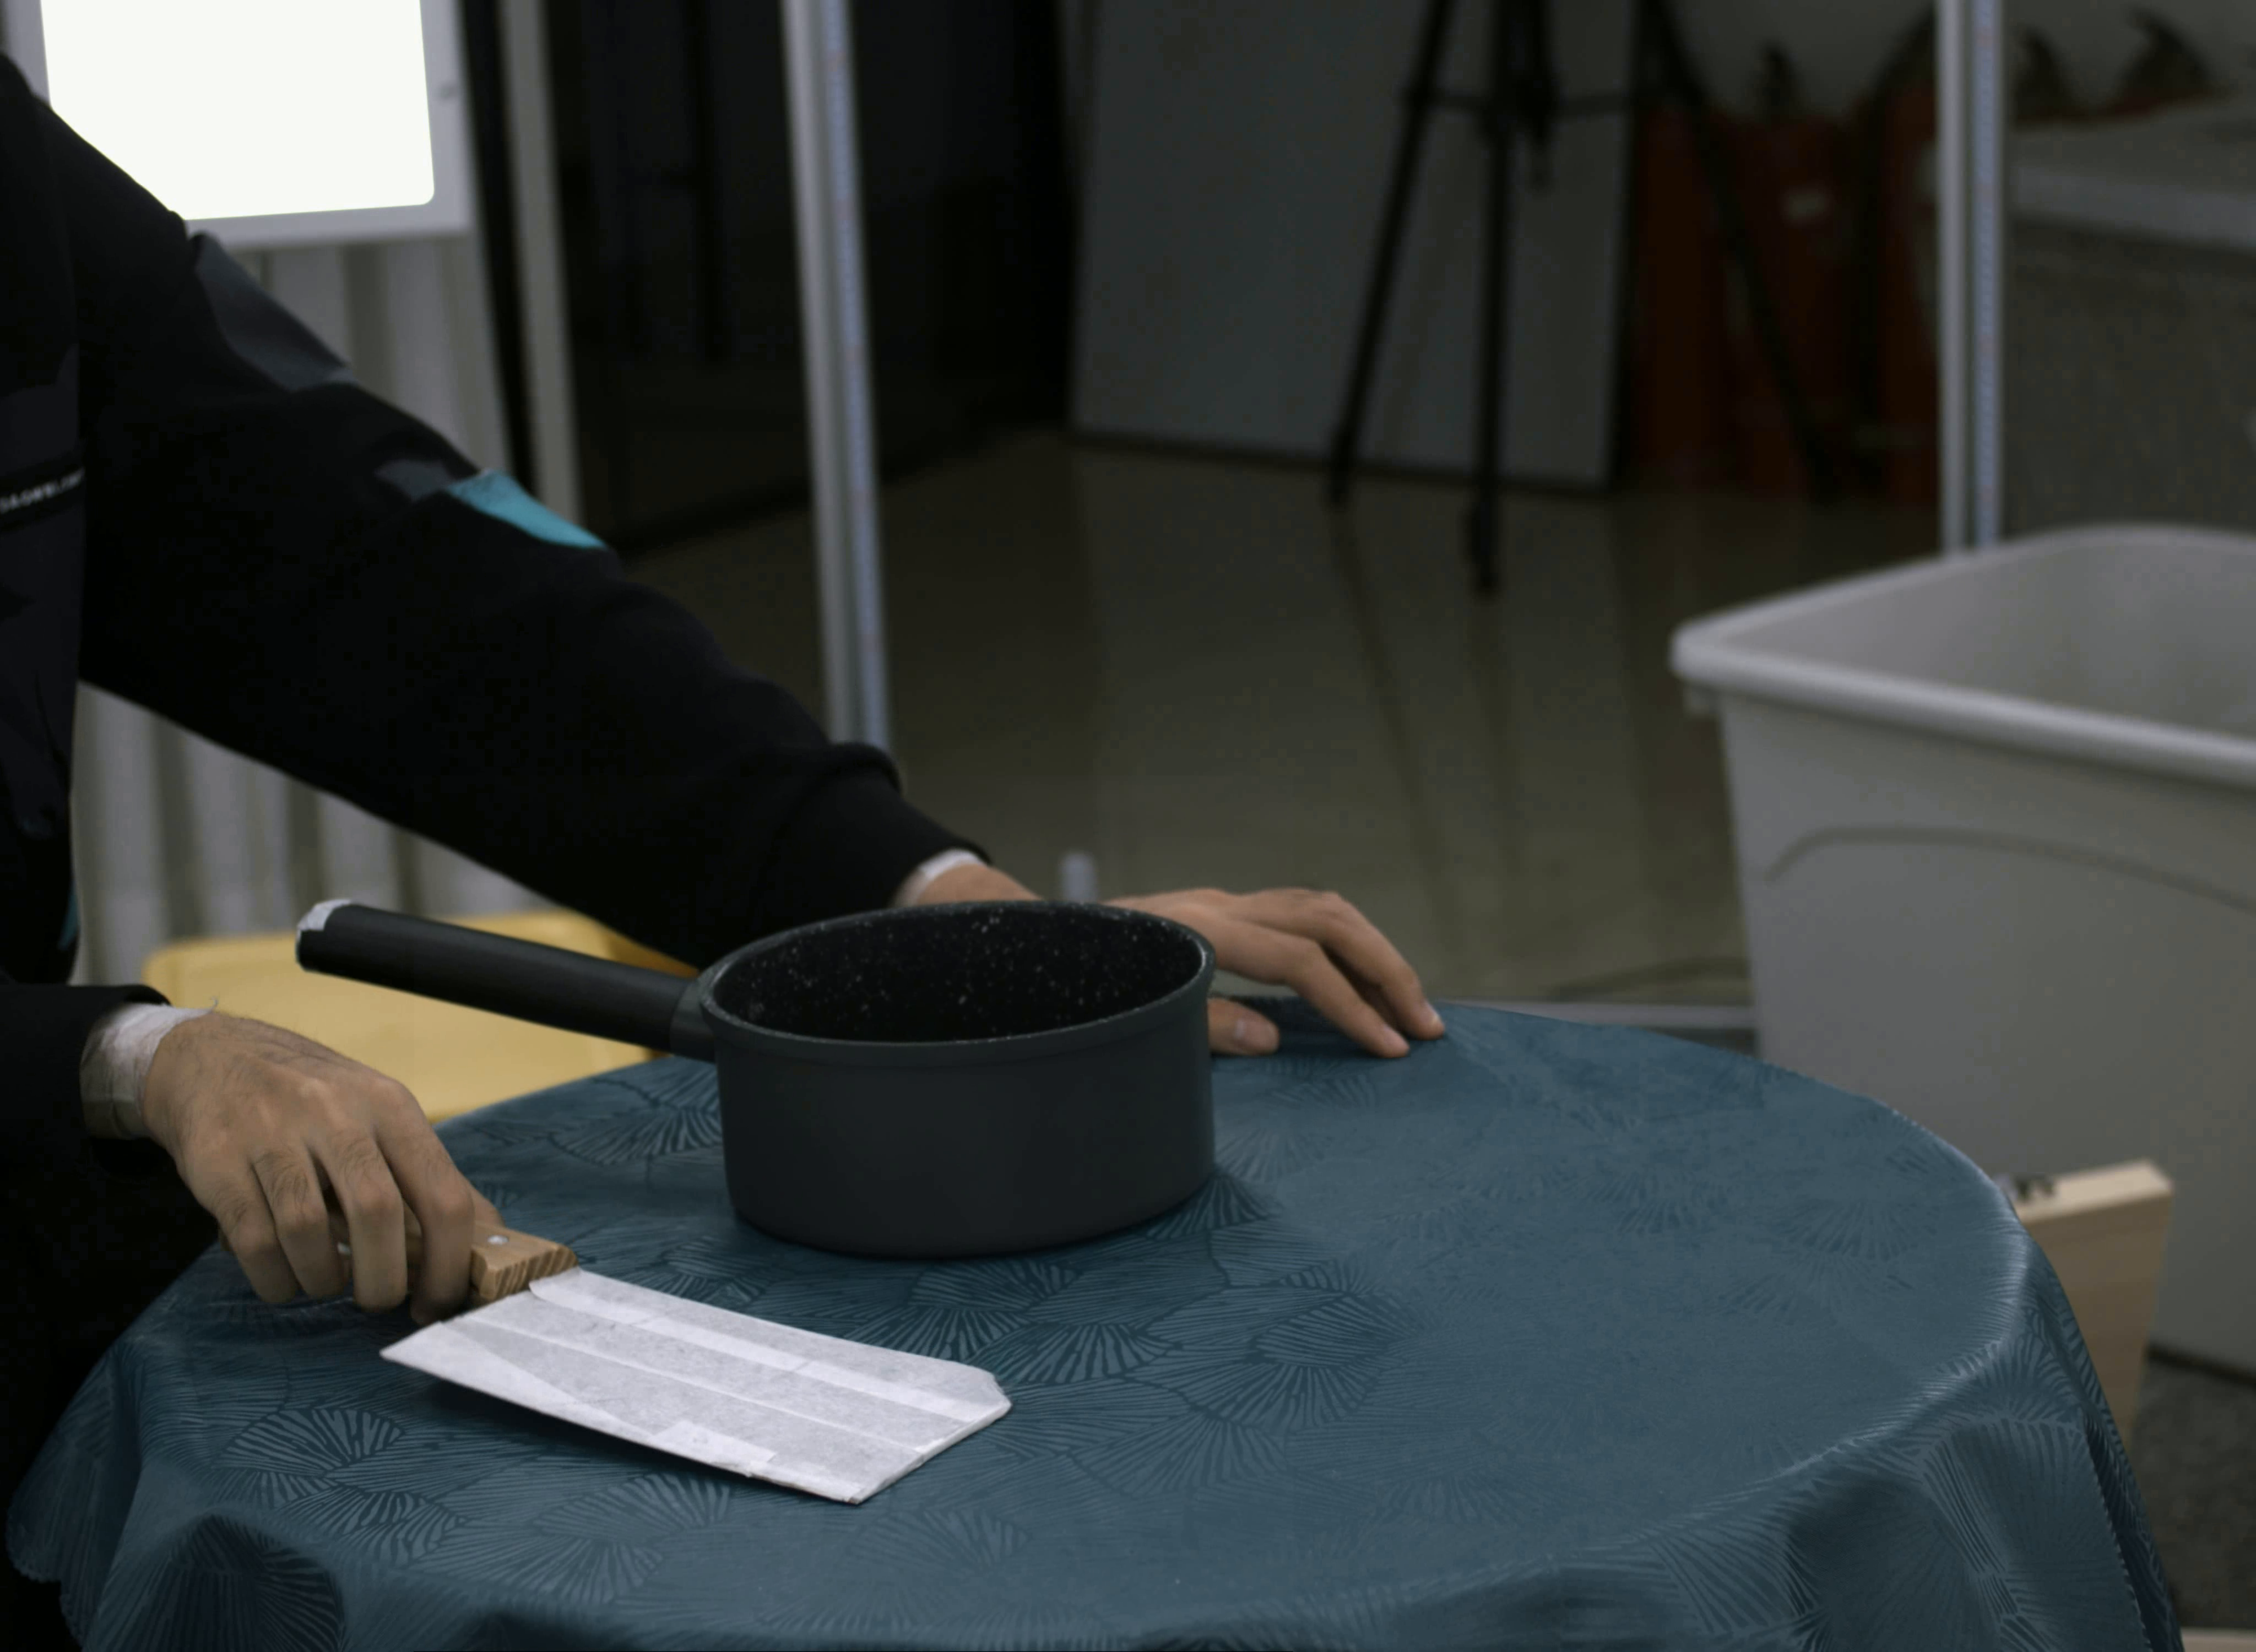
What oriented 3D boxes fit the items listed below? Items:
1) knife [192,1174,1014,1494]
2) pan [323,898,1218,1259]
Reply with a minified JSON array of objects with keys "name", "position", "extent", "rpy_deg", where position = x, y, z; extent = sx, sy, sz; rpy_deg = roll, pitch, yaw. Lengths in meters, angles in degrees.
[{"name":"knife","position":[-0.169,0.151,1.640],"extent":[0.318,0.022,0.112],"rpy_deg":[13,21,39]},{"name":"pan","position":[-0.124,0.077,1.810],"extent":[0.329,0.087,0.170],"rpy_deg":[3,13,25]}]
